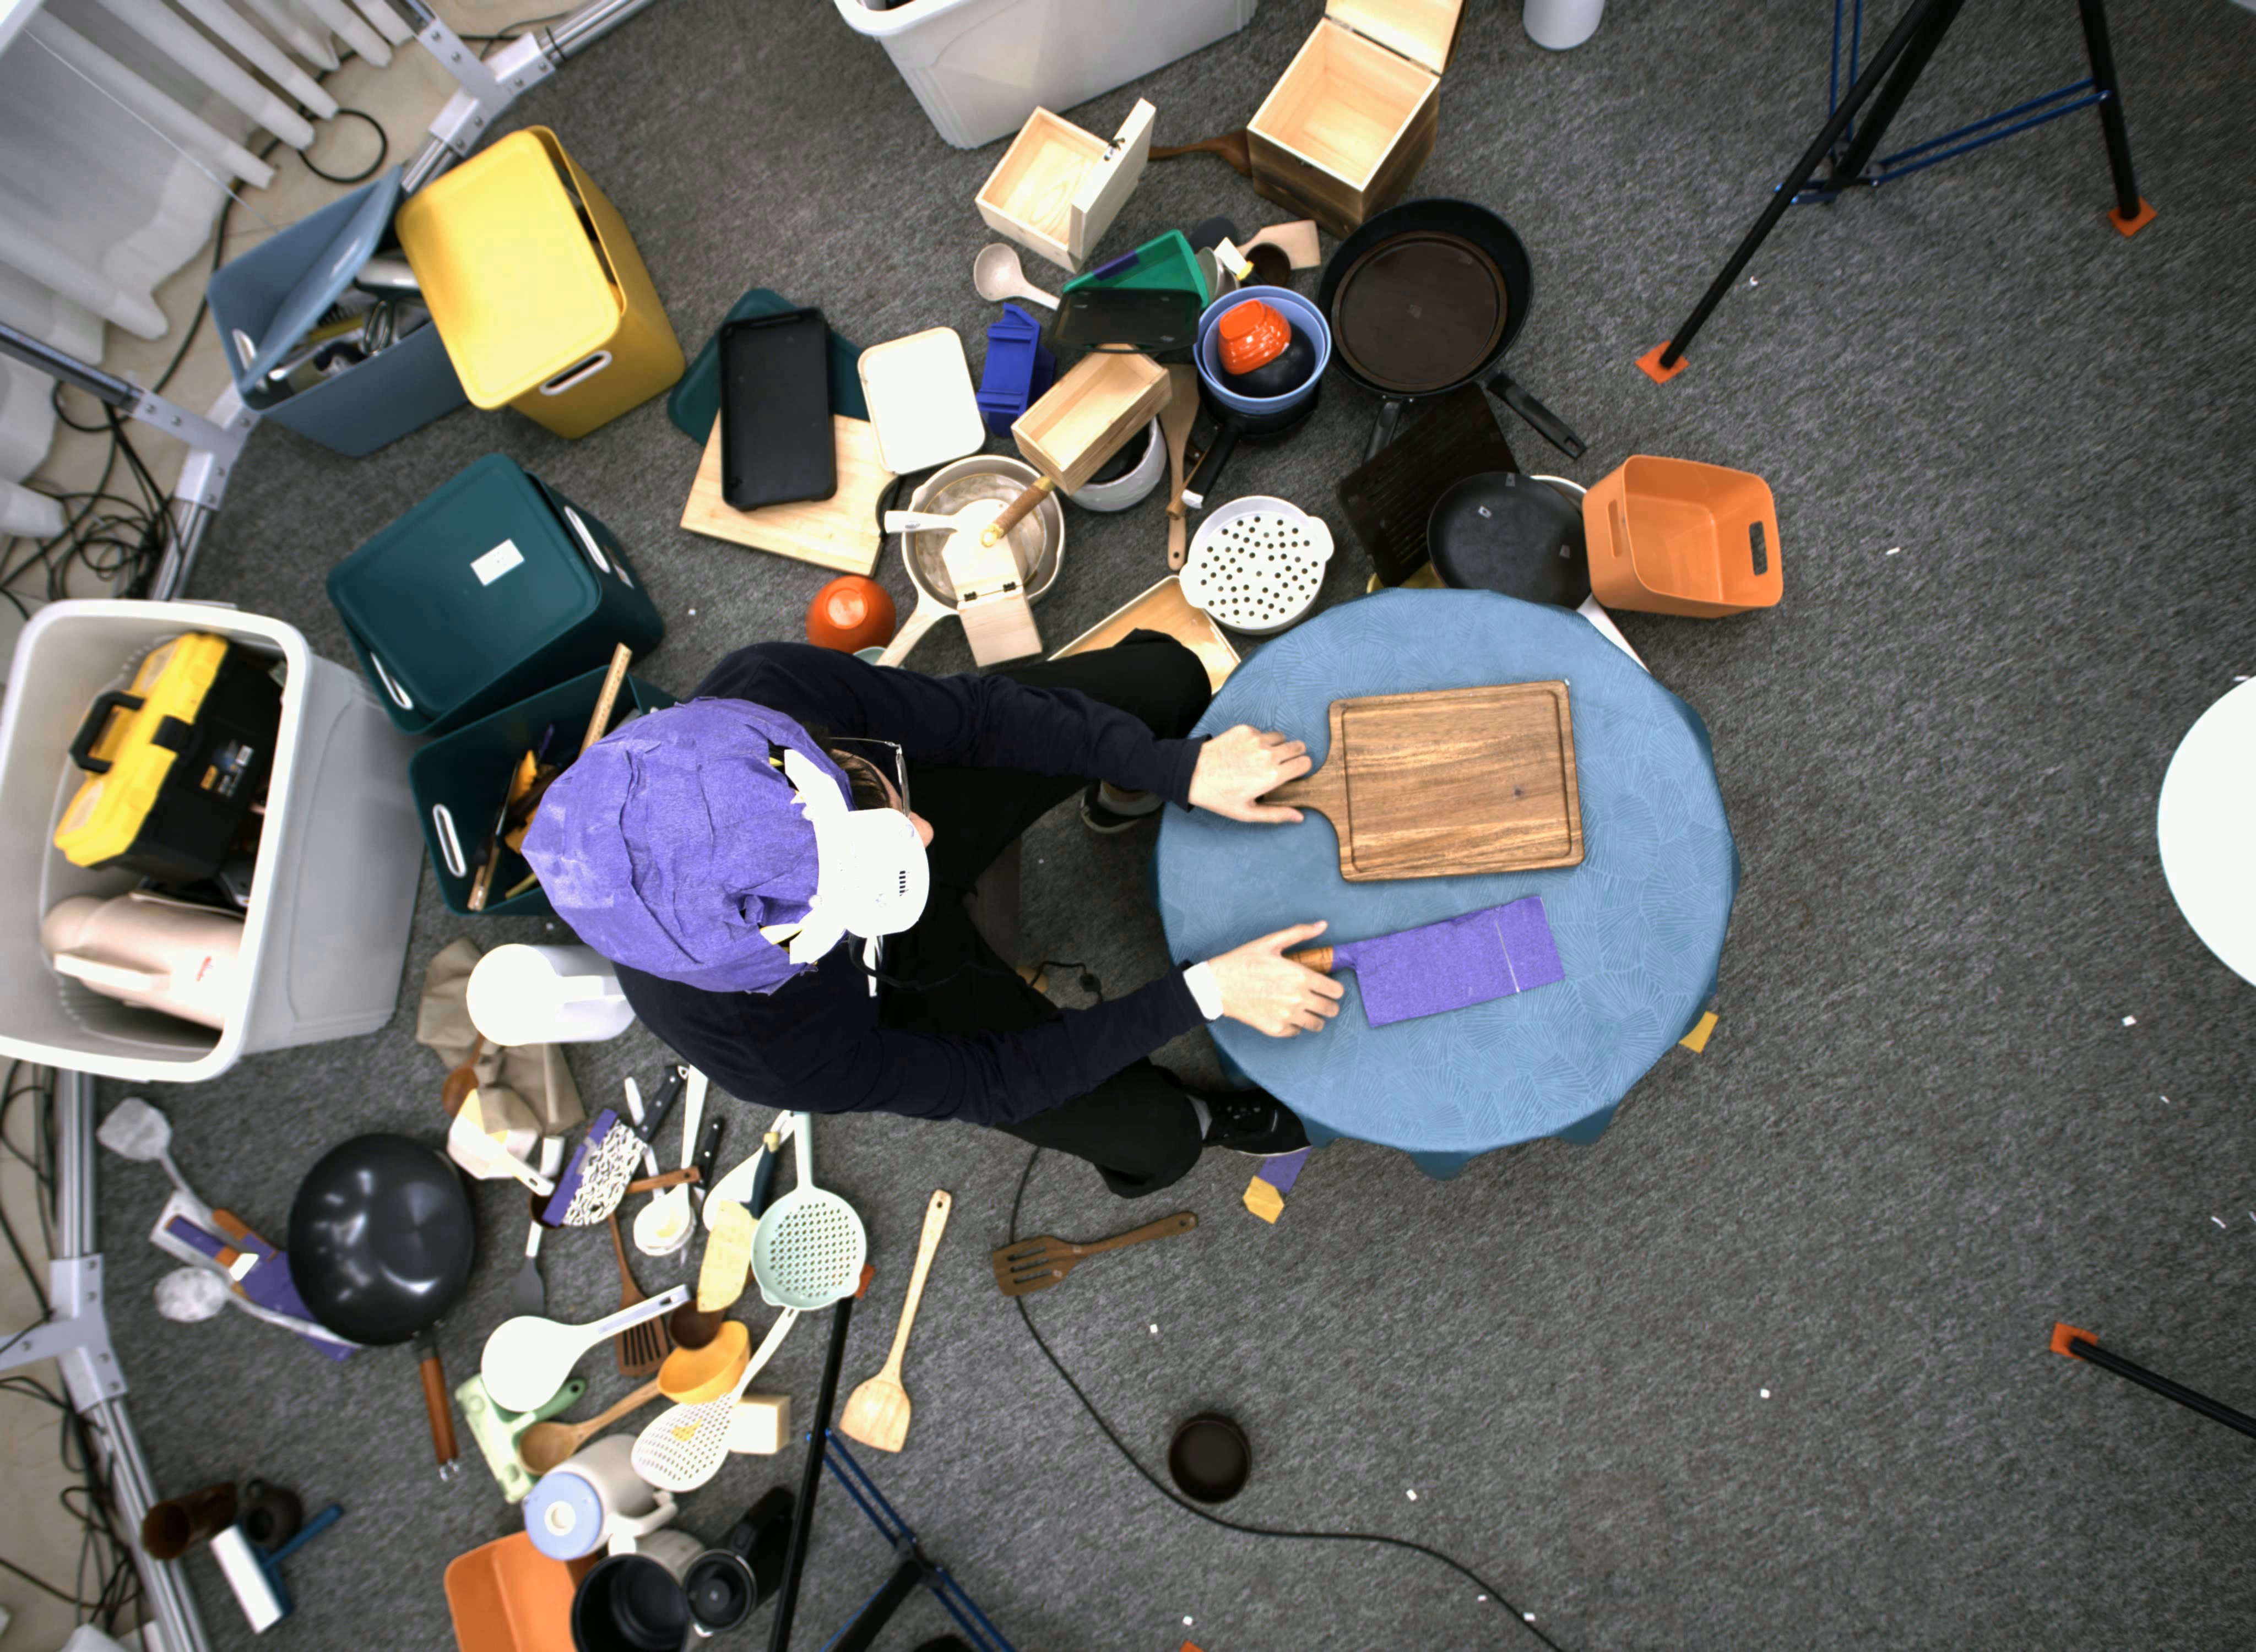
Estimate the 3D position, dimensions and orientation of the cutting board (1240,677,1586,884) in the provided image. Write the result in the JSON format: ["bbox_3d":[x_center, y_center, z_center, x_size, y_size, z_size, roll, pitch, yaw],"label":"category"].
[{"bbox_3d":[0.293,-0.045,1.452,0.354,0.023,0.200,-5,86,11],"label":"cutting board"}]

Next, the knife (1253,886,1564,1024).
[{"bbox_3d":[0.292,0.150,1.438,0.317,0.032,0.103,-16,84,9],"label":"knife"}]
